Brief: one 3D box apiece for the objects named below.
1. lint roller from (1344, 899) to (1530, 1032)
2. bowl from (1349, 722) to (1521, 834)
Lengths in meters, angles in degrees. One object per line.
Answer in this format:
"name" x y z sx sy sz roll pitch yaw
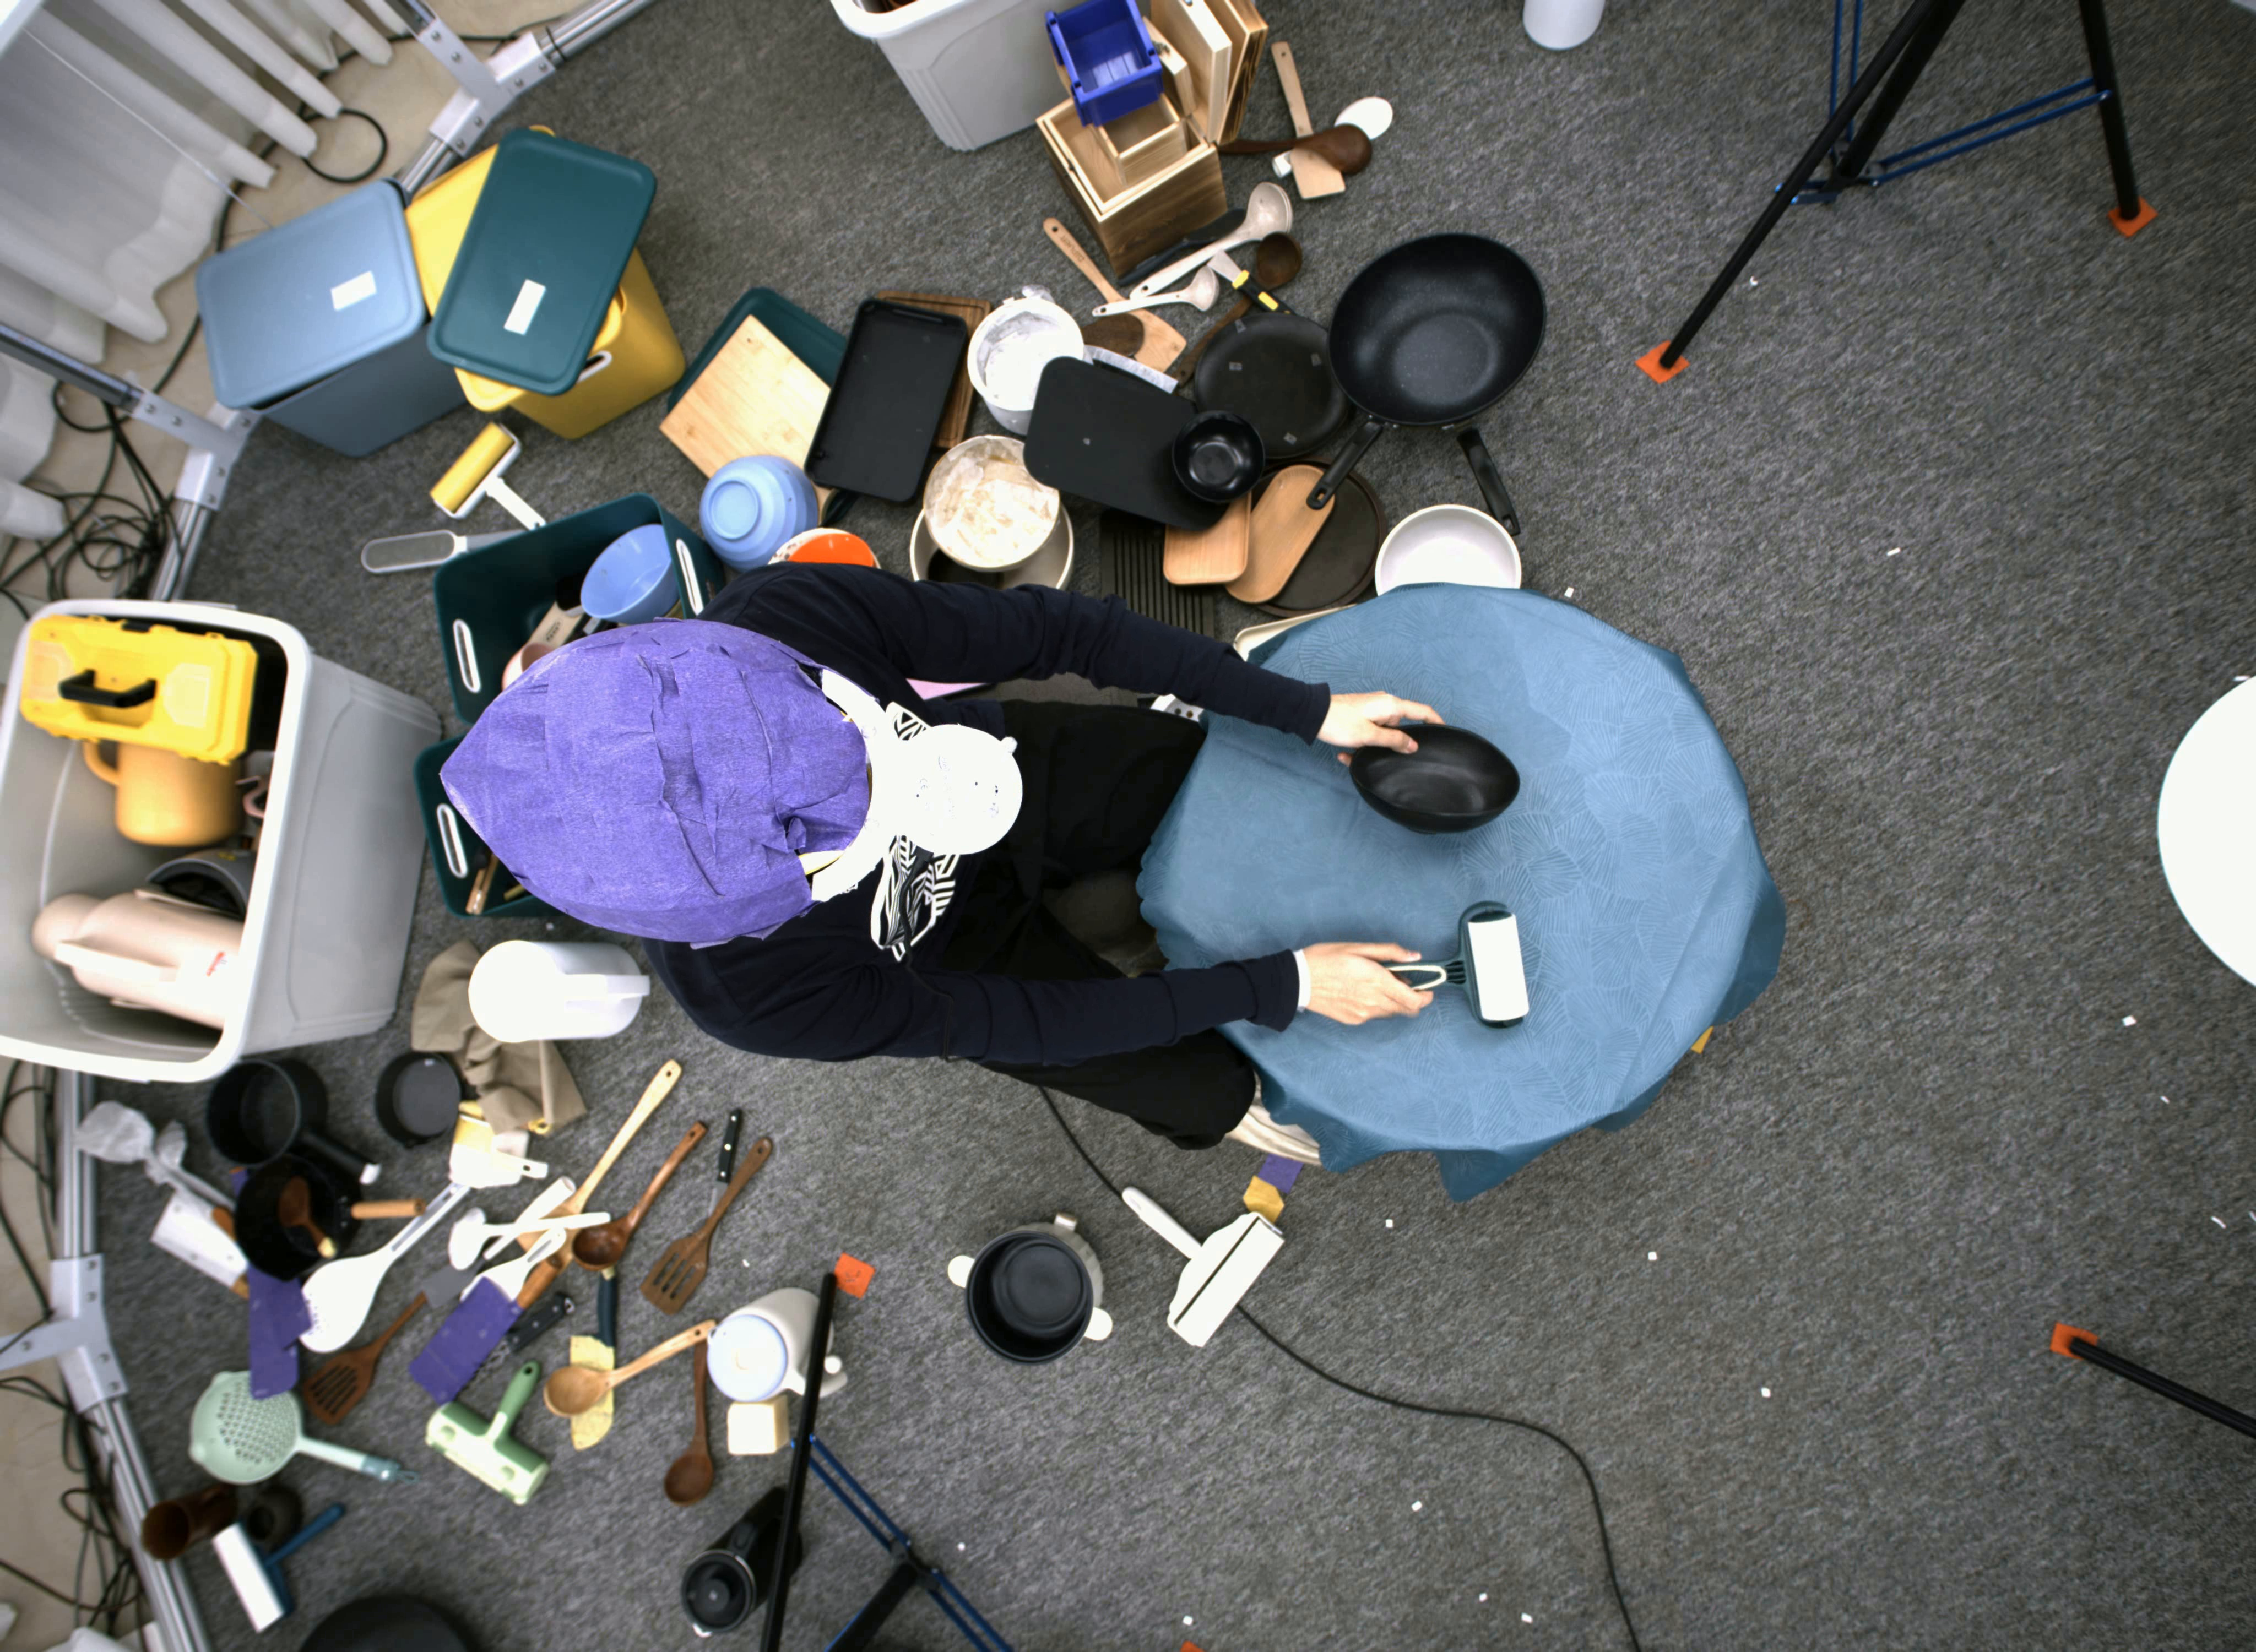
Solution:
"lint roller" 0.309 0.152 1.402 0.181 0.048 0.134 -11 95 7
"bowl" 0.306 -0.038 1.386 0.170 0.068 0.133 4 46 3
